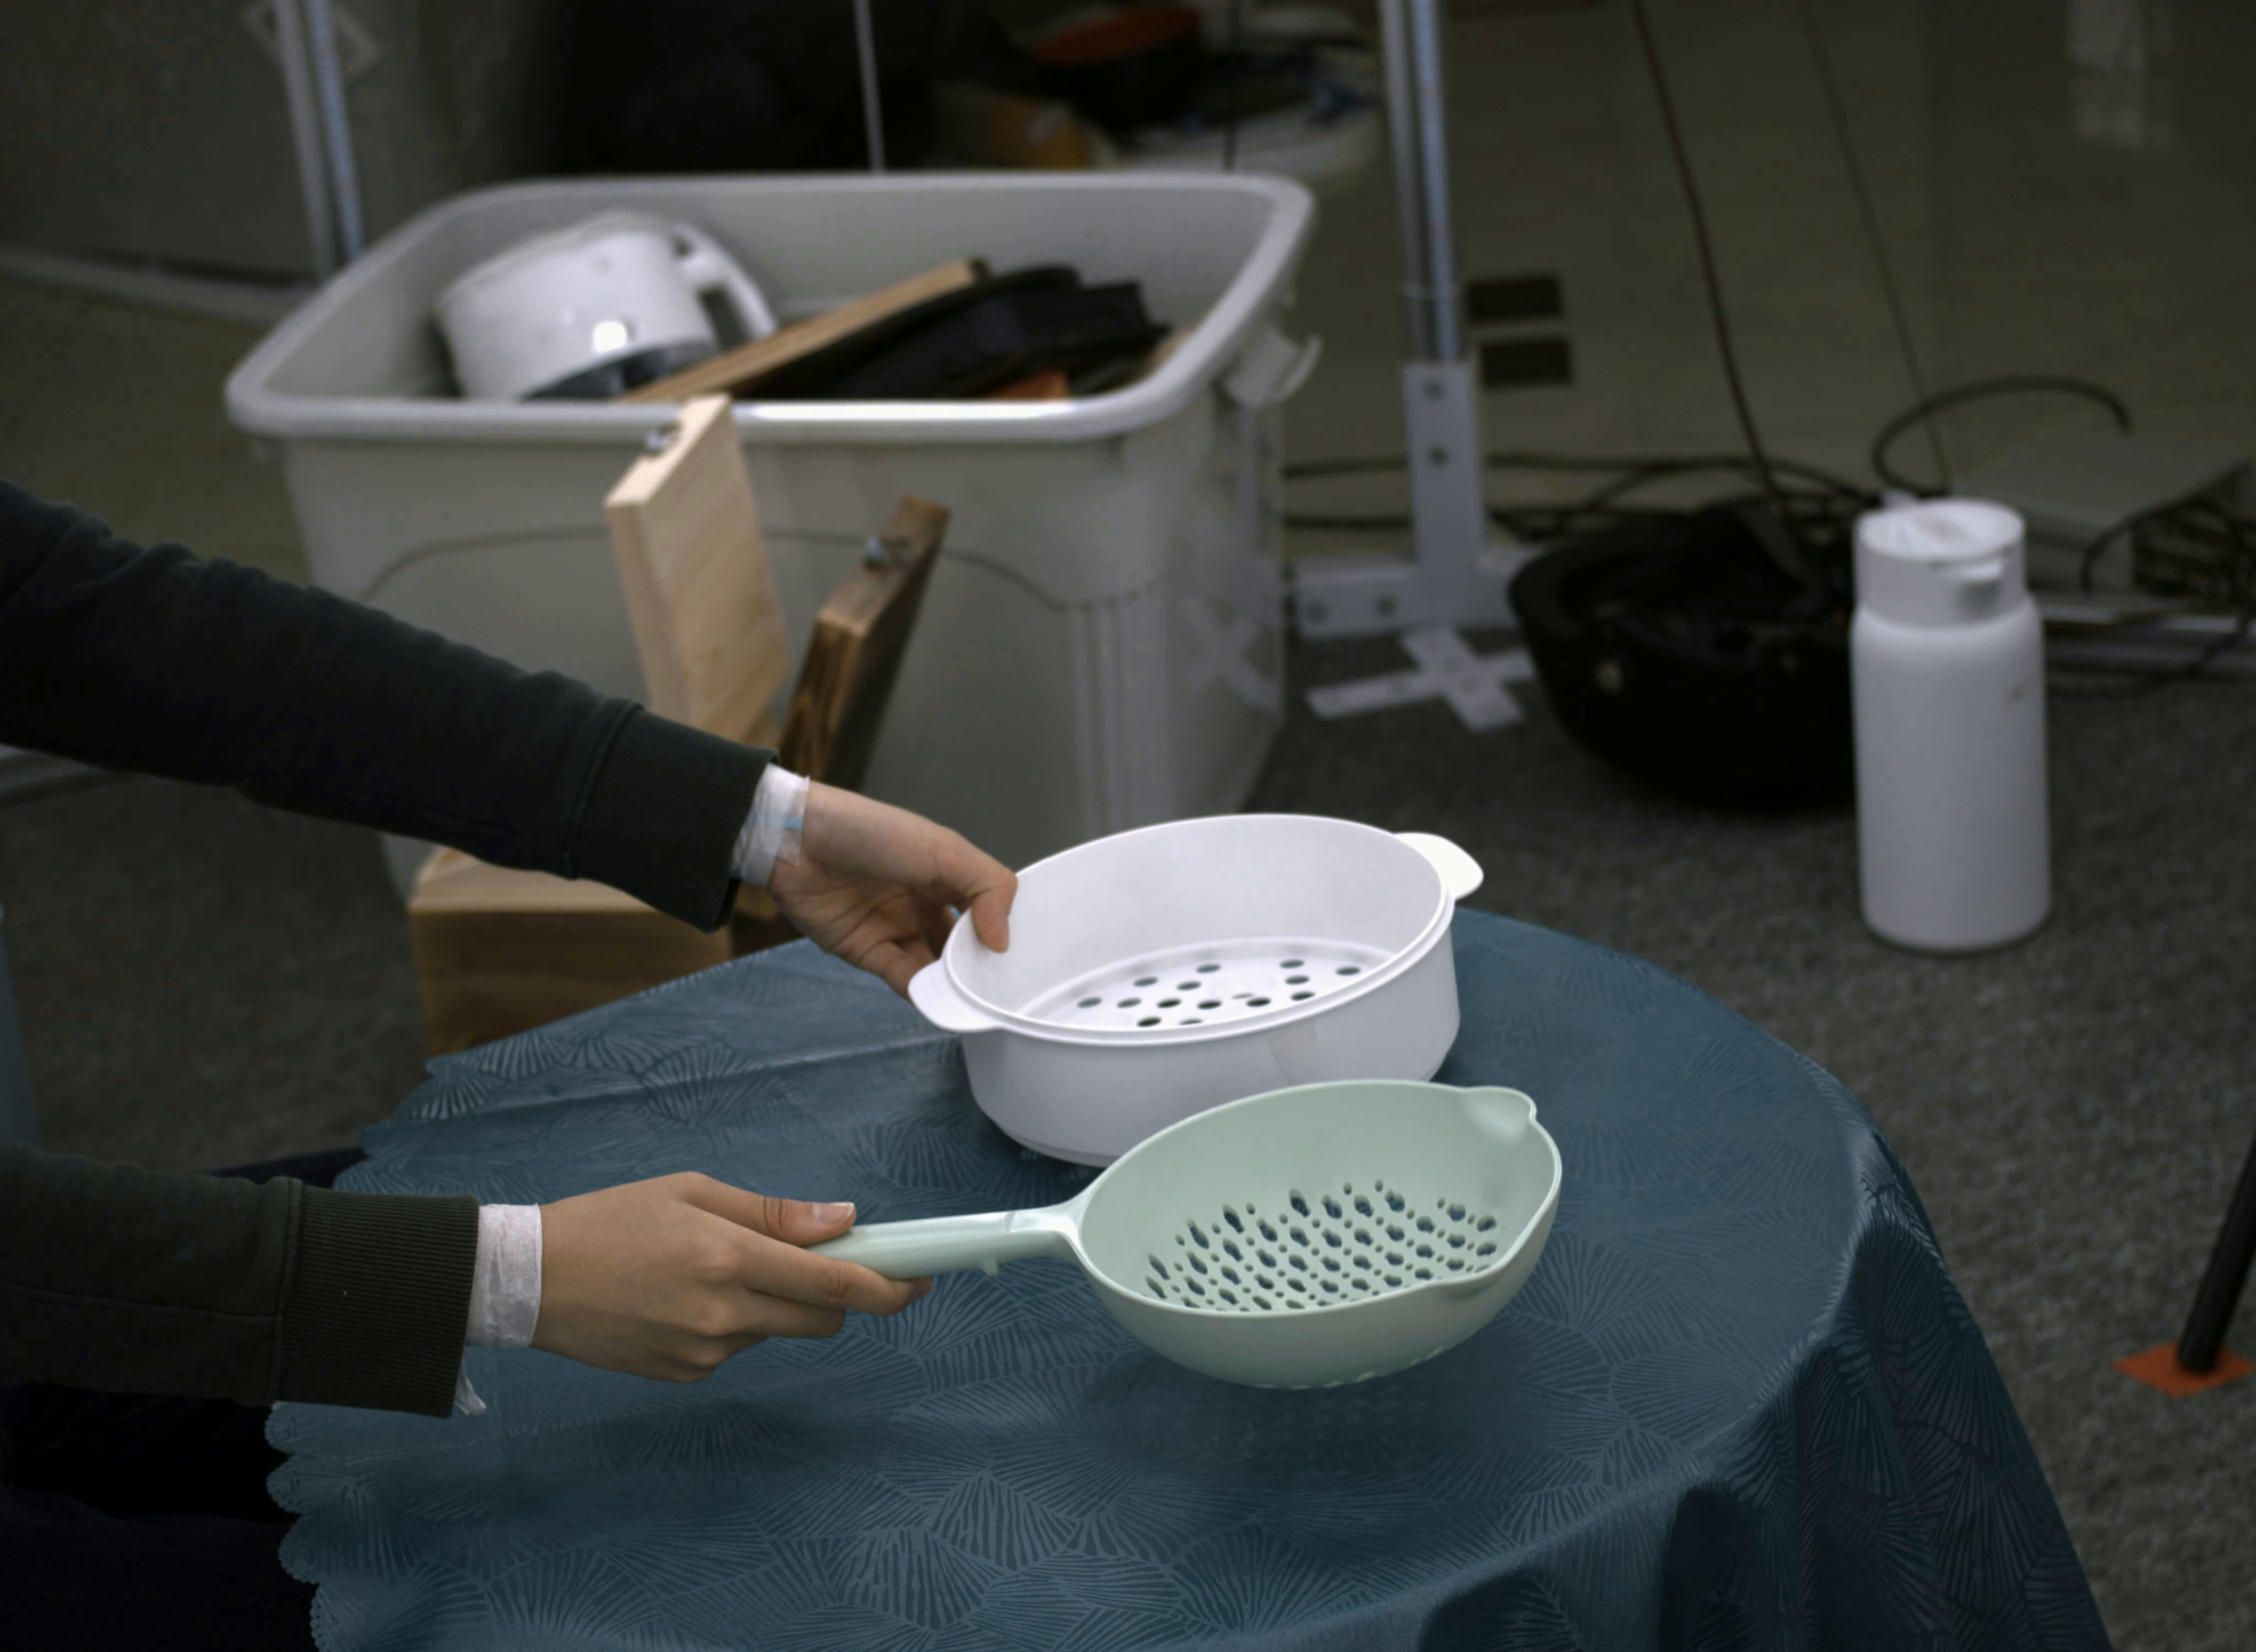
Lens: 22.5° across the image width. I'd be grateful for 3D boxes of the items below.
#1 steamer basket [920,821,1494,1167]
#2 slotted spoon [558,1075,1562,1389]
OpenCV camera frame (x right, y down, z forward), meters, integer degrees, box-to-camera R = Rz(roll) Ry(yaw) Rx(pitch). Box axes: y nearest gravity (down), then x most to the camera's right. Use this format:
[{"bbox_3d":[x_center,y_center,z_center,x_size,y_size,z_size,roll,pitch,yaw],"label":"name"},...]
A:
[{"bbox_3d":[0.036,0.067,2.210,0.230,0.070,0.199,-16,23,-15],"label":"steamer basket"},{"bbox_3d":[-0.028,0.147,1.986,0.358,0.076,0.167,2,25,8],"label":"slotted spoon"}]
